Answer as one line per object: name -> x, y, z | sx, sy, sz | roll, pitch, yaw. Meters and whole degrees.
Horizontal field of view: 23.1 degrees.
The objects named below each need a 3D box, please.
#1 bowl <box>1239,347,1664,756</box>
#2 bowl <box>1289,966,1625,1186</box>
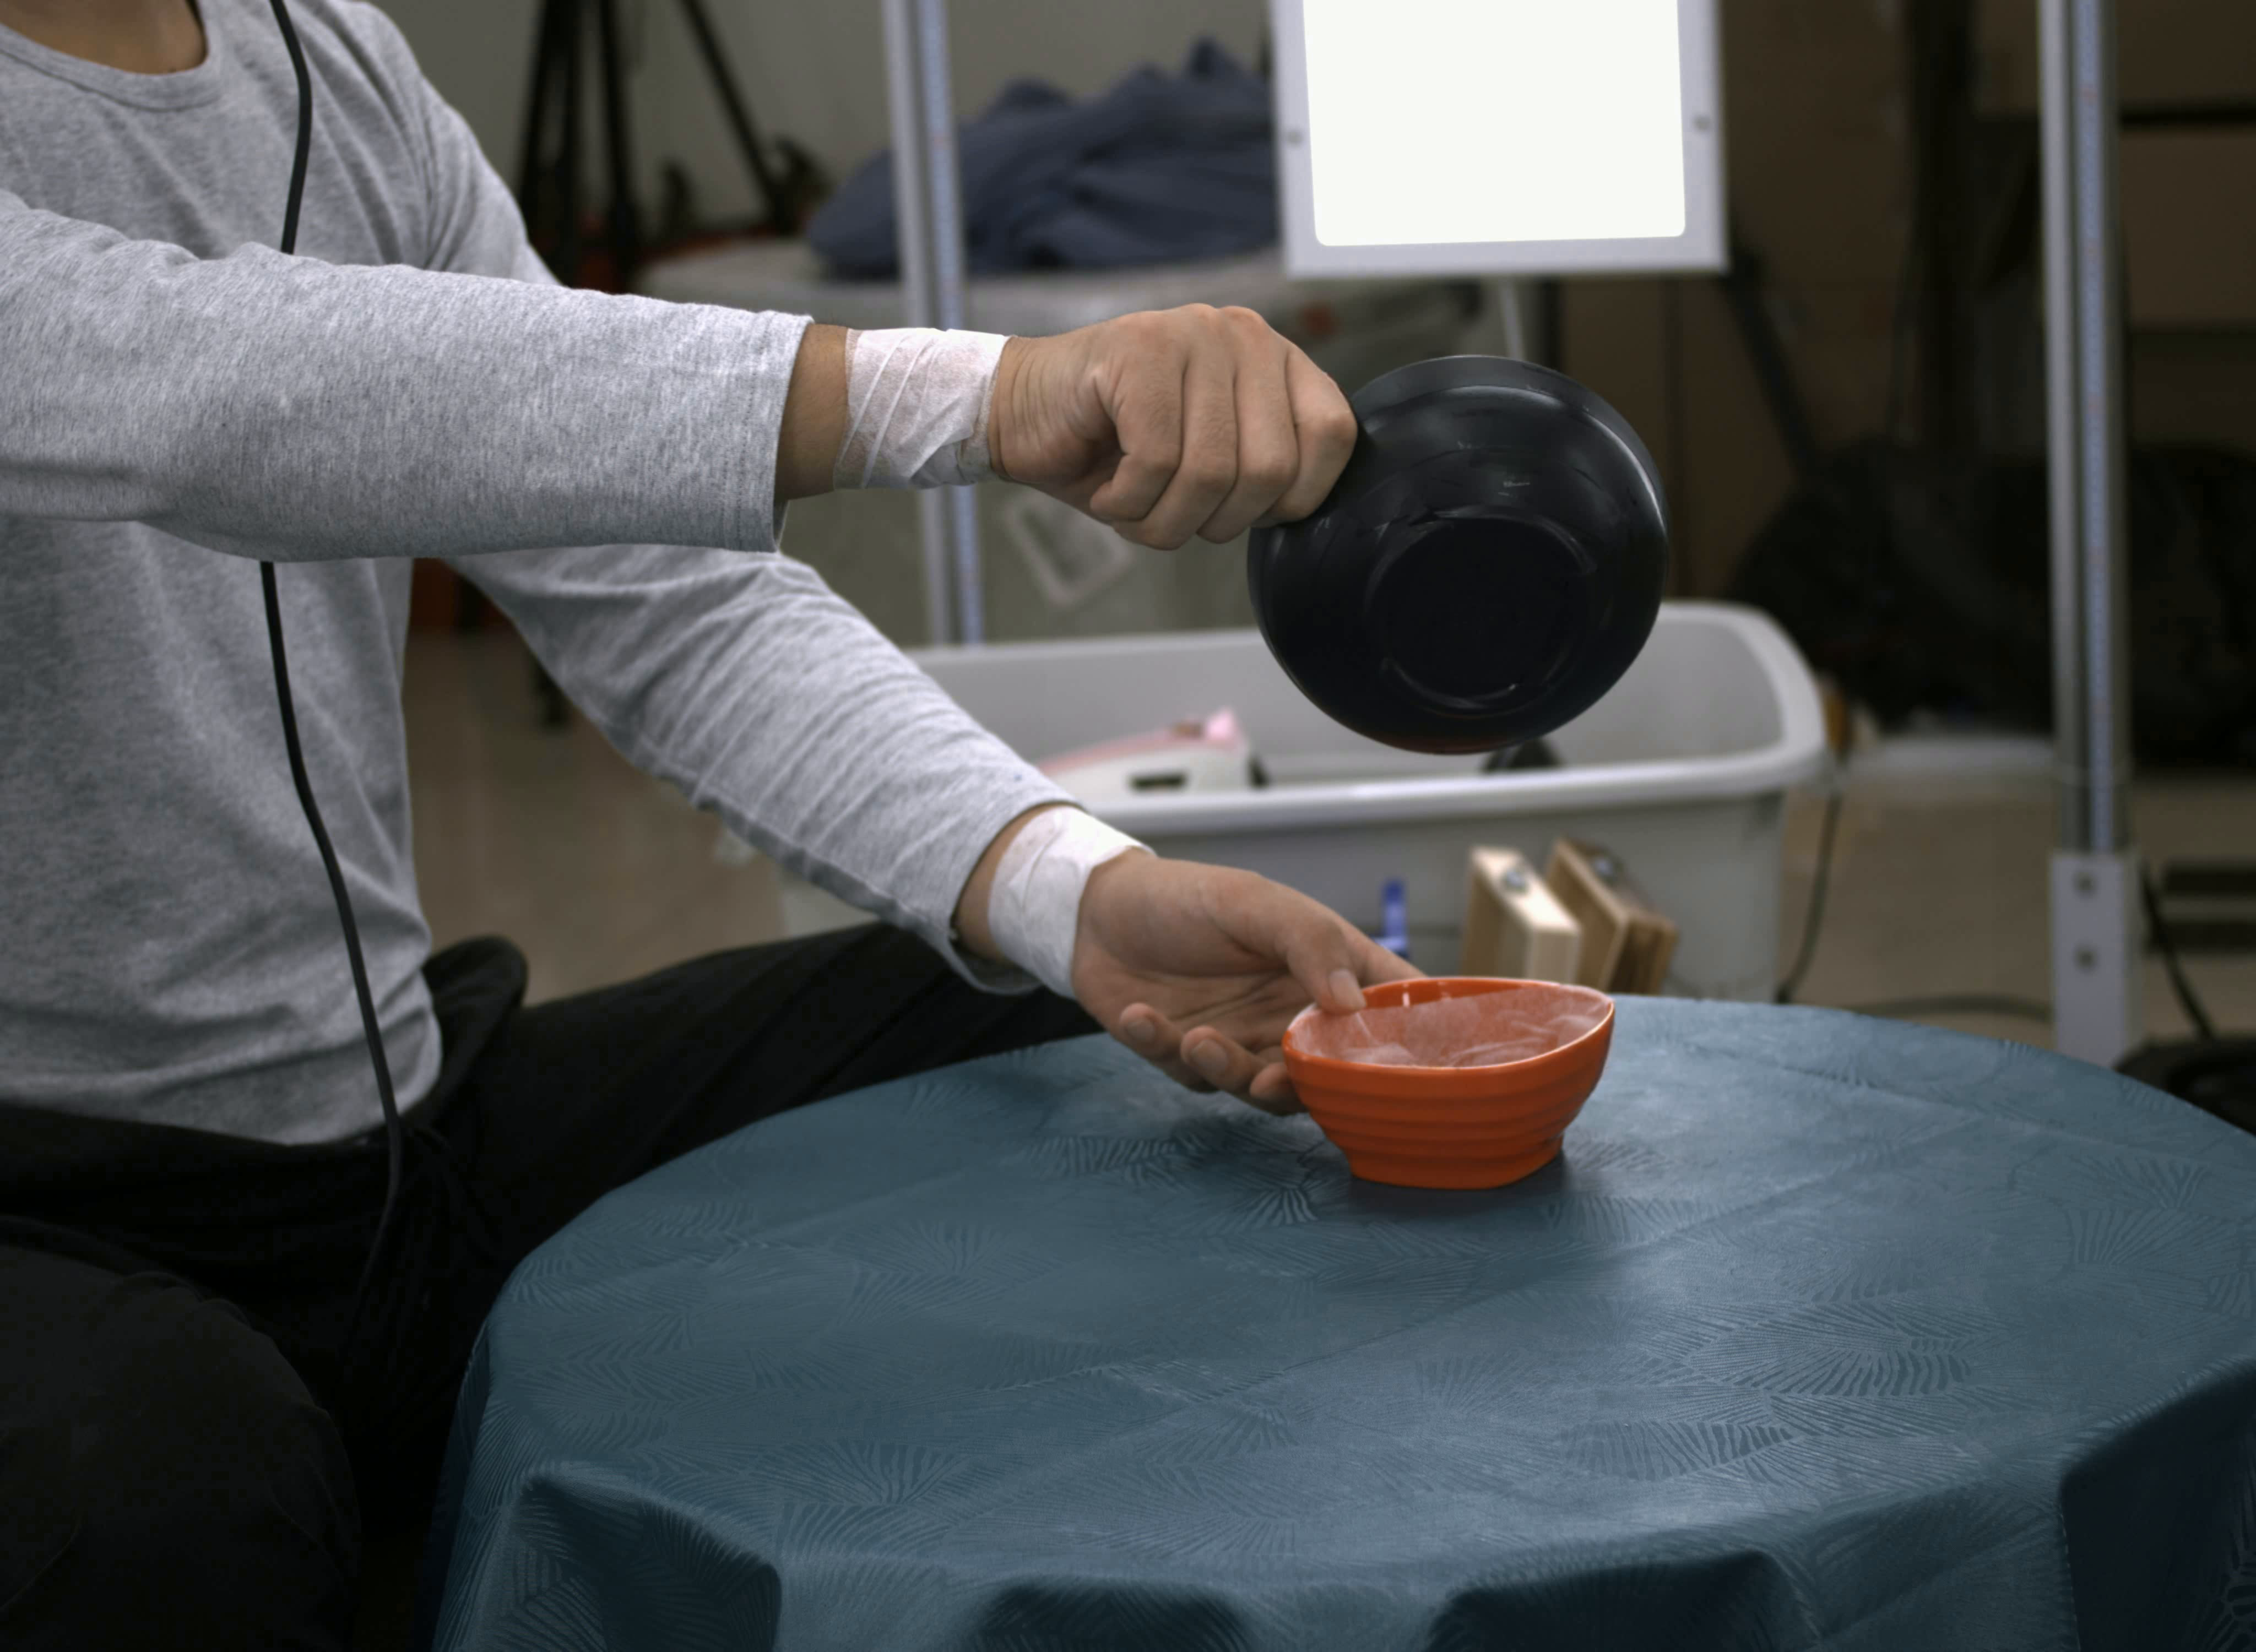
bowl -> 0.108, -0.079, 1.746 | 0.139, 0.141, 0.050 | -5, 27, -4
bowl -> 0.115, 0.088, 1.901 | 0.118, 0.051, 0.119 | -4, 16, 0
